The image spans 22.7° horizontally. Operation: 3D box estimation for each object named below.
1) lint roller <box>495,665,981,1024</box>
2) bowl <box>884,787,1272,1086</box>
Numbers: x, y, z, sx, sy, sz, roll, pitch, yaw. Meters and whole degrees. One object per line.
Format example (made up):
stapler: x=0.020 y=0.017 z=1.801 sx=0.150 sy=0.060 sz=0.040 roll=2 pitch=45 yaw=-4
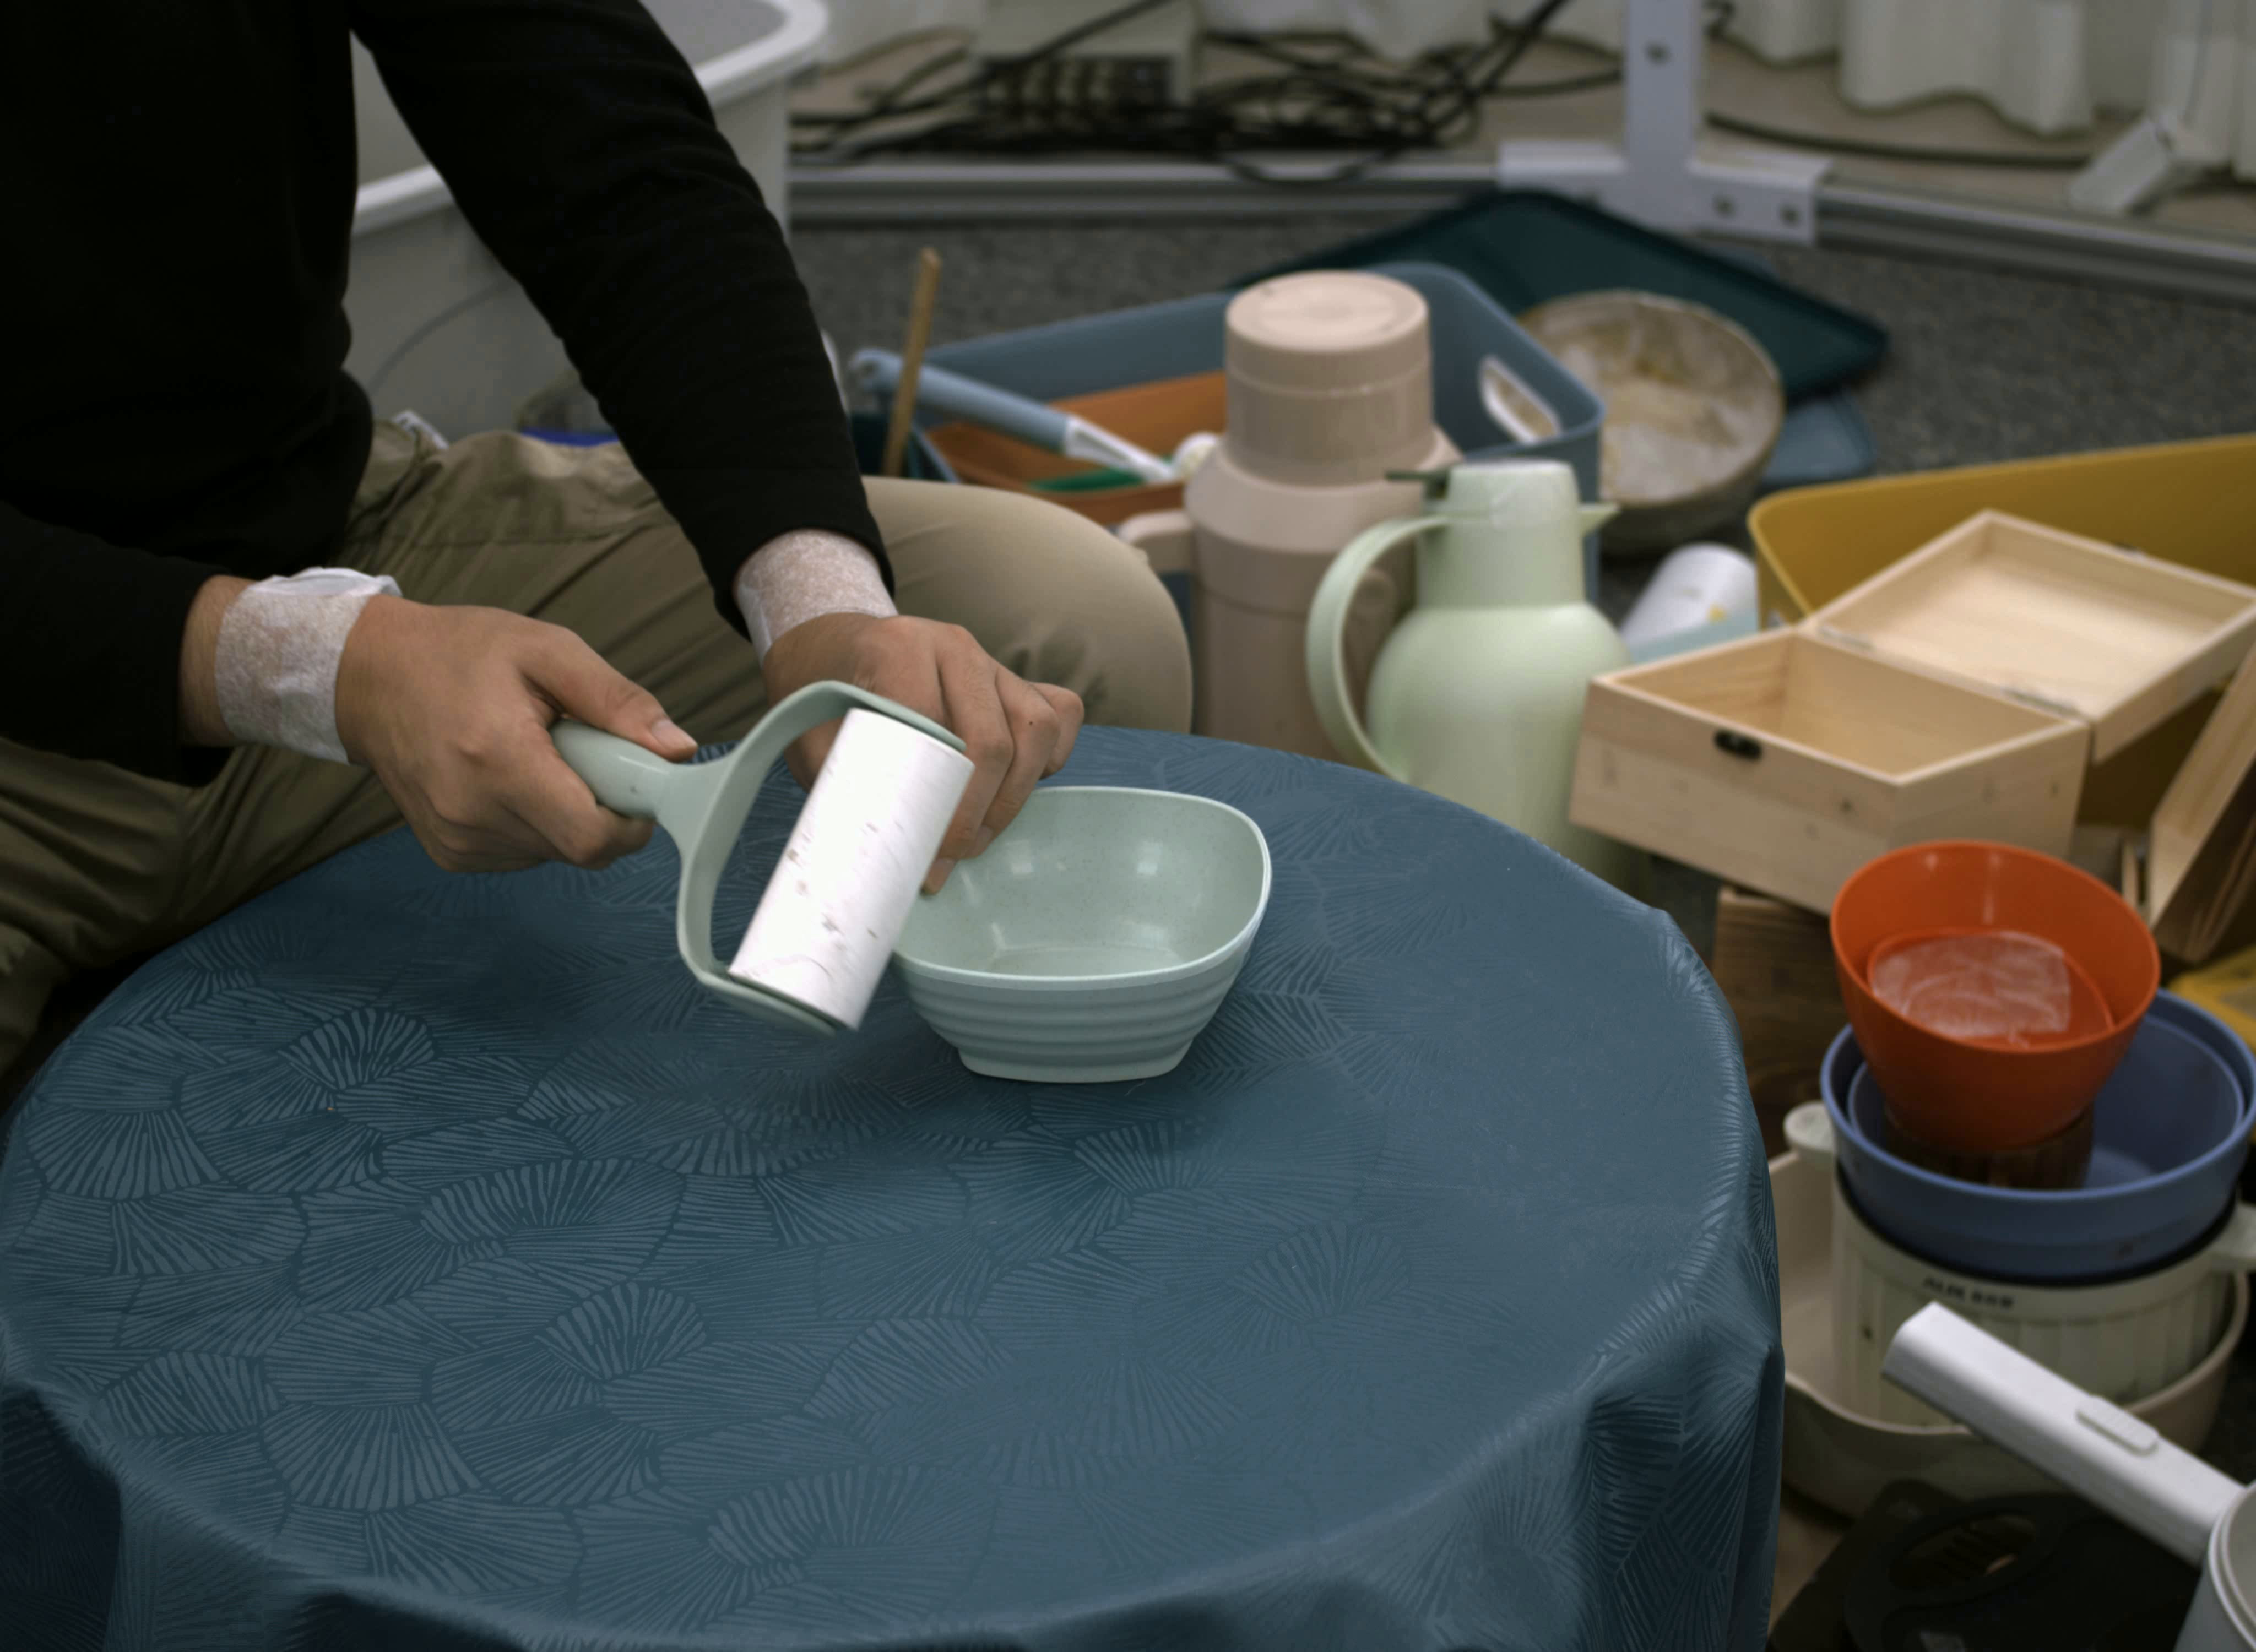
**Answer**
lint roller: x=-0.147 y=-0.011 z=1.931 sx=0.197 sy=0.117 sz=0.048 roll=19 pitch=-10 yaw=32
bowl: x=-0.019 y=0.044 z=1.951 sx=0.151 sy=0.058 sz=0.154 roll=0 pitch=28 yaw=1
